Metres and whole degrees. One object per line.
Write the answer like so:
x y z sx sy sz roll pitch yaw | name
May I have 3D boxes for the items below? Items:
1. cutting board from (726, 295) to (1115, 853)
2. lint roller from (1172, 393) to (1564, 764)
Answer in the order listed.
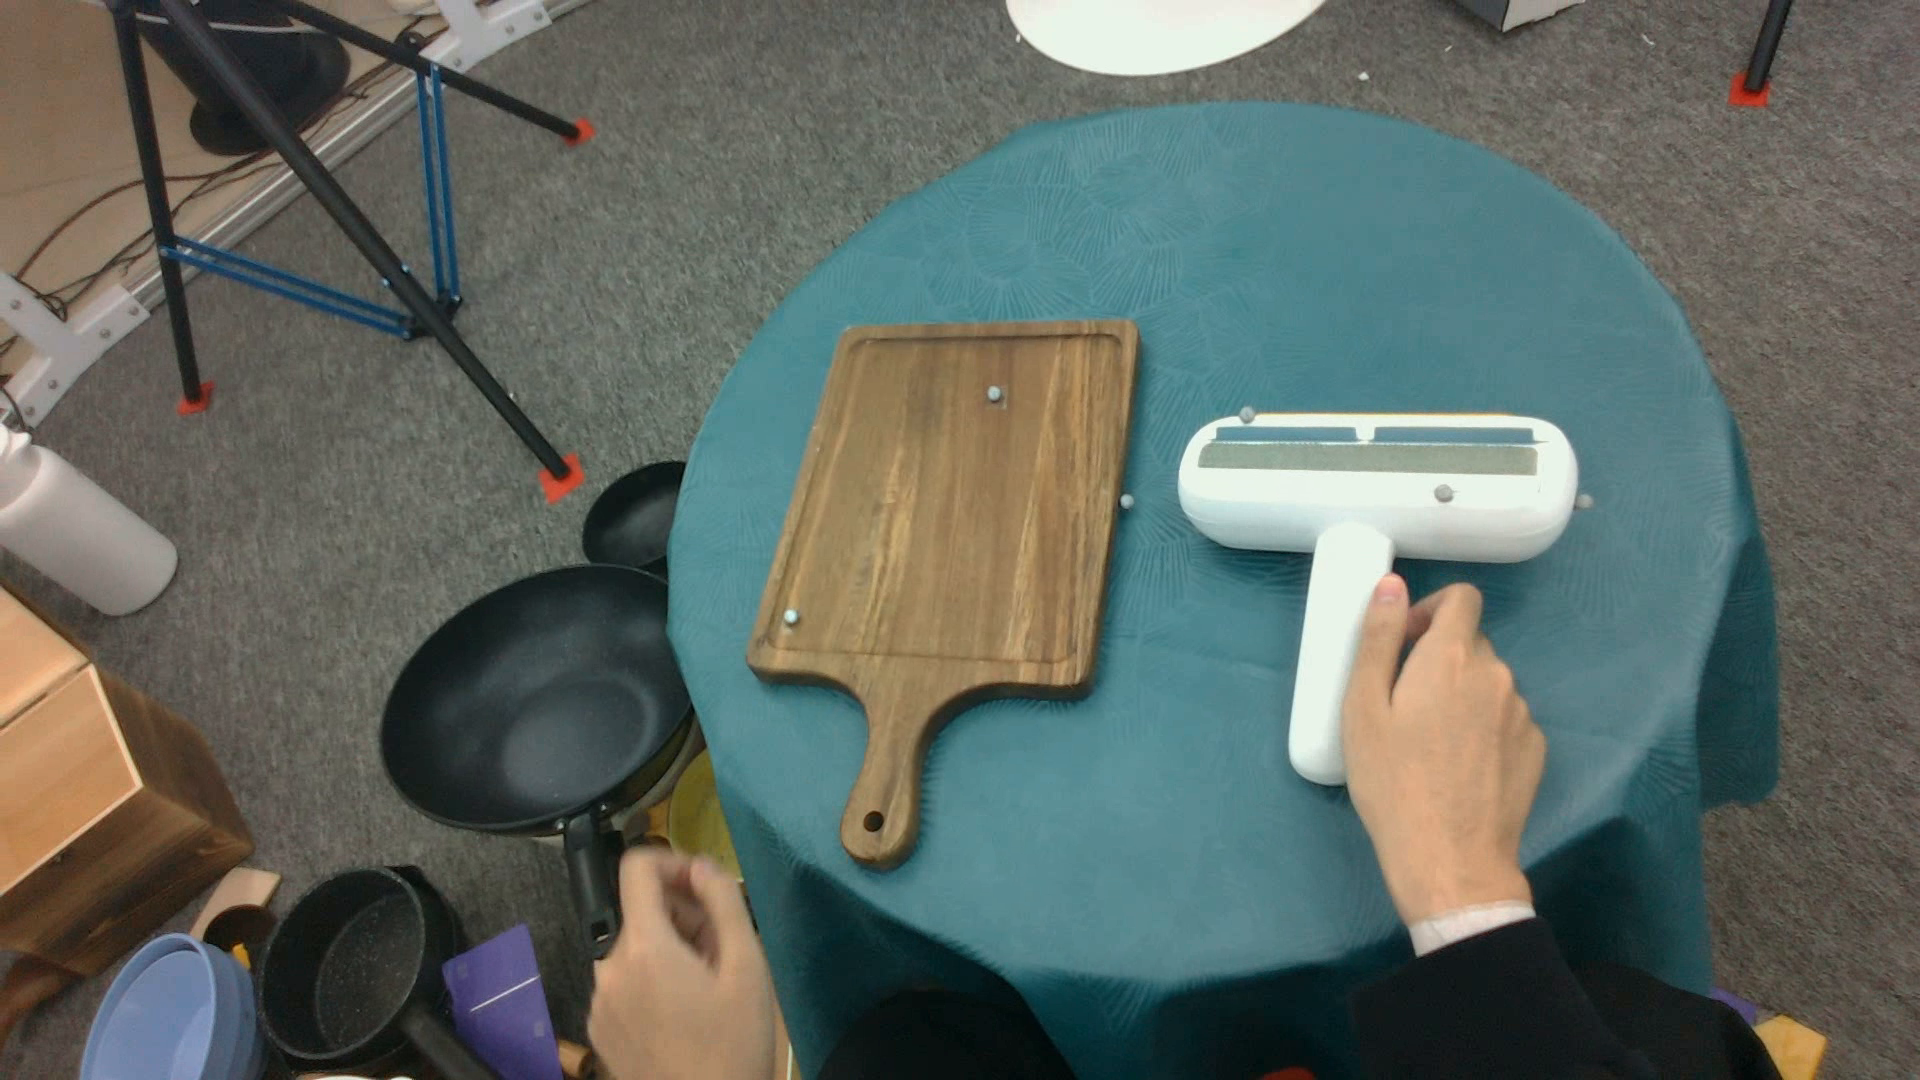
-0.024 0.003 0.774 0.201 0.023 0.354 0 58 16 | cutting board
0.185 0.015 0.681 0.192 0.074 0.193 9 62 26 | lint roller
